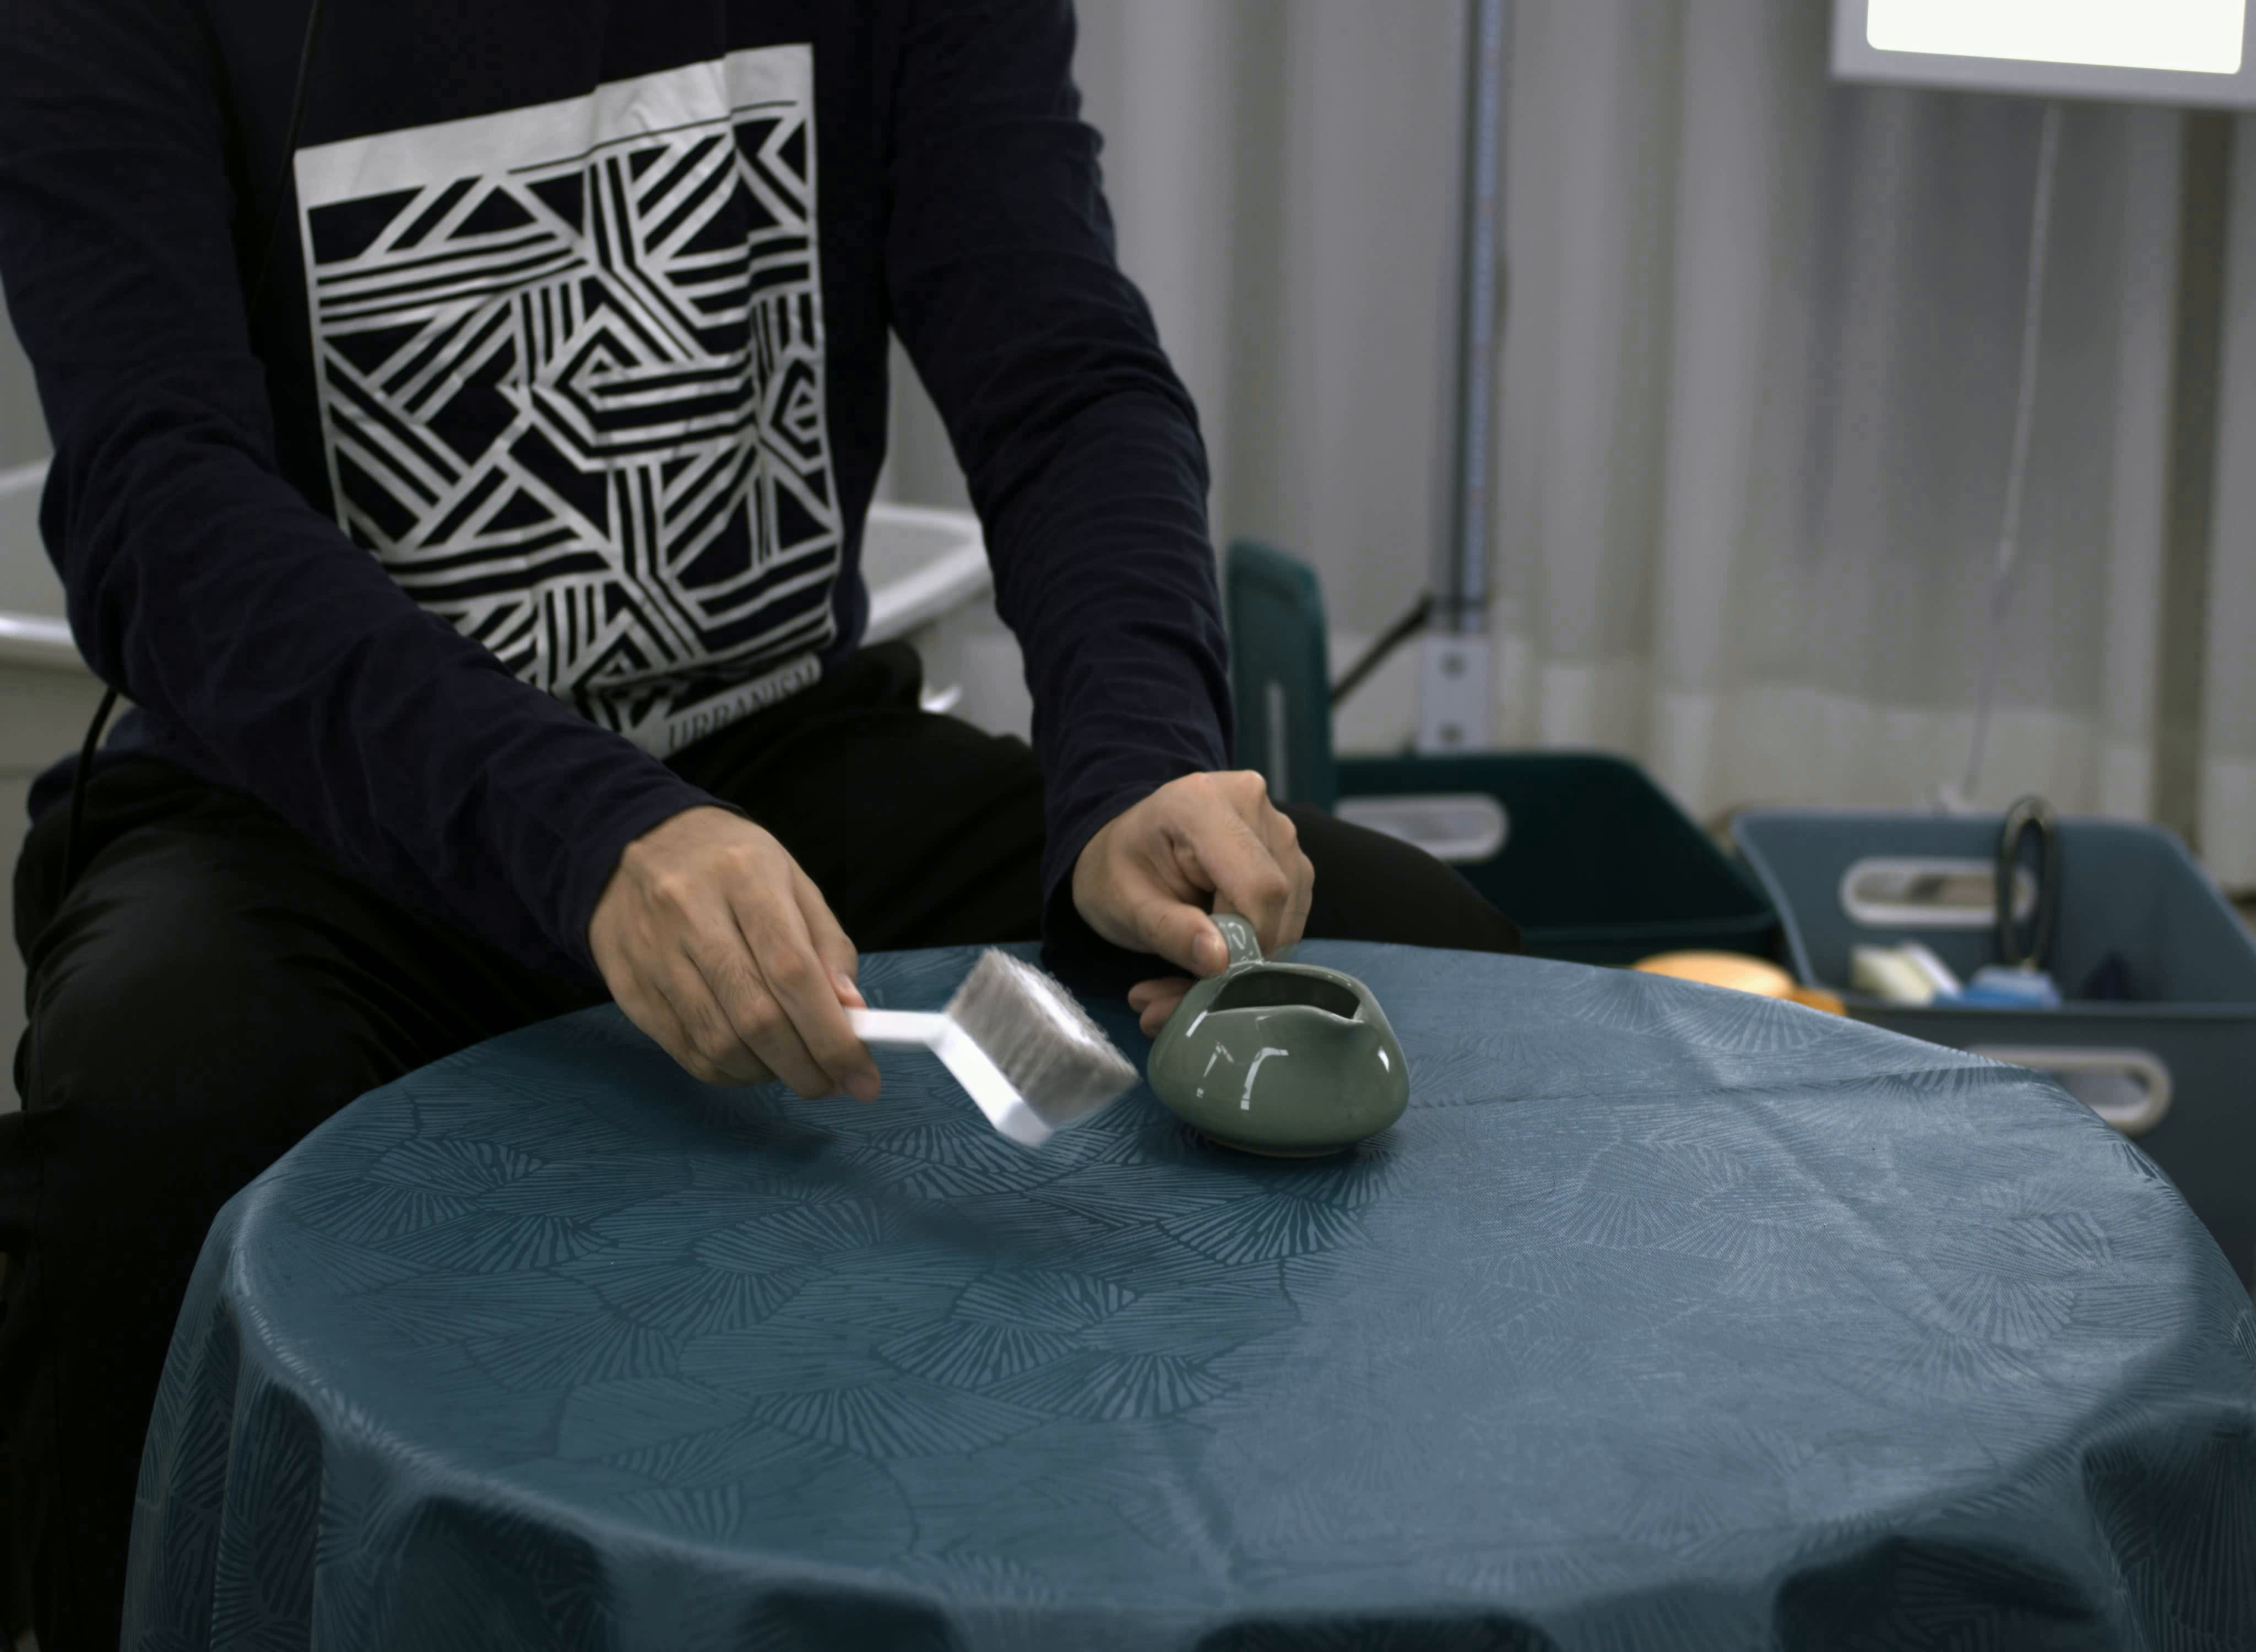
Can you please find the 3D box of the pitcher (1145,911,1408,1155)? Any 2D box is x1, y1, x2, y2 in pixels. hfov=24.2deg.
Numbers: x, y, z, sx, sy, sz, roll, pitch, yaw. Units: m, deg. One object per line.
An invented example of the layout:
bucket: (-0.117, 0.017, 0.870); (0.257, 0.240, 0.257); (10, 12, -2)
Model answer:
pitcher: (0.046, 0.067, 1.674); (0.084, 0.056, 0.111); (-1, 18, -28)

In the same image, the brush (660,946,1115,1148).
brush: (-0.080, 0.051, 1.649); (0.035, 0.050, 0.240); (19, 0, -34)
